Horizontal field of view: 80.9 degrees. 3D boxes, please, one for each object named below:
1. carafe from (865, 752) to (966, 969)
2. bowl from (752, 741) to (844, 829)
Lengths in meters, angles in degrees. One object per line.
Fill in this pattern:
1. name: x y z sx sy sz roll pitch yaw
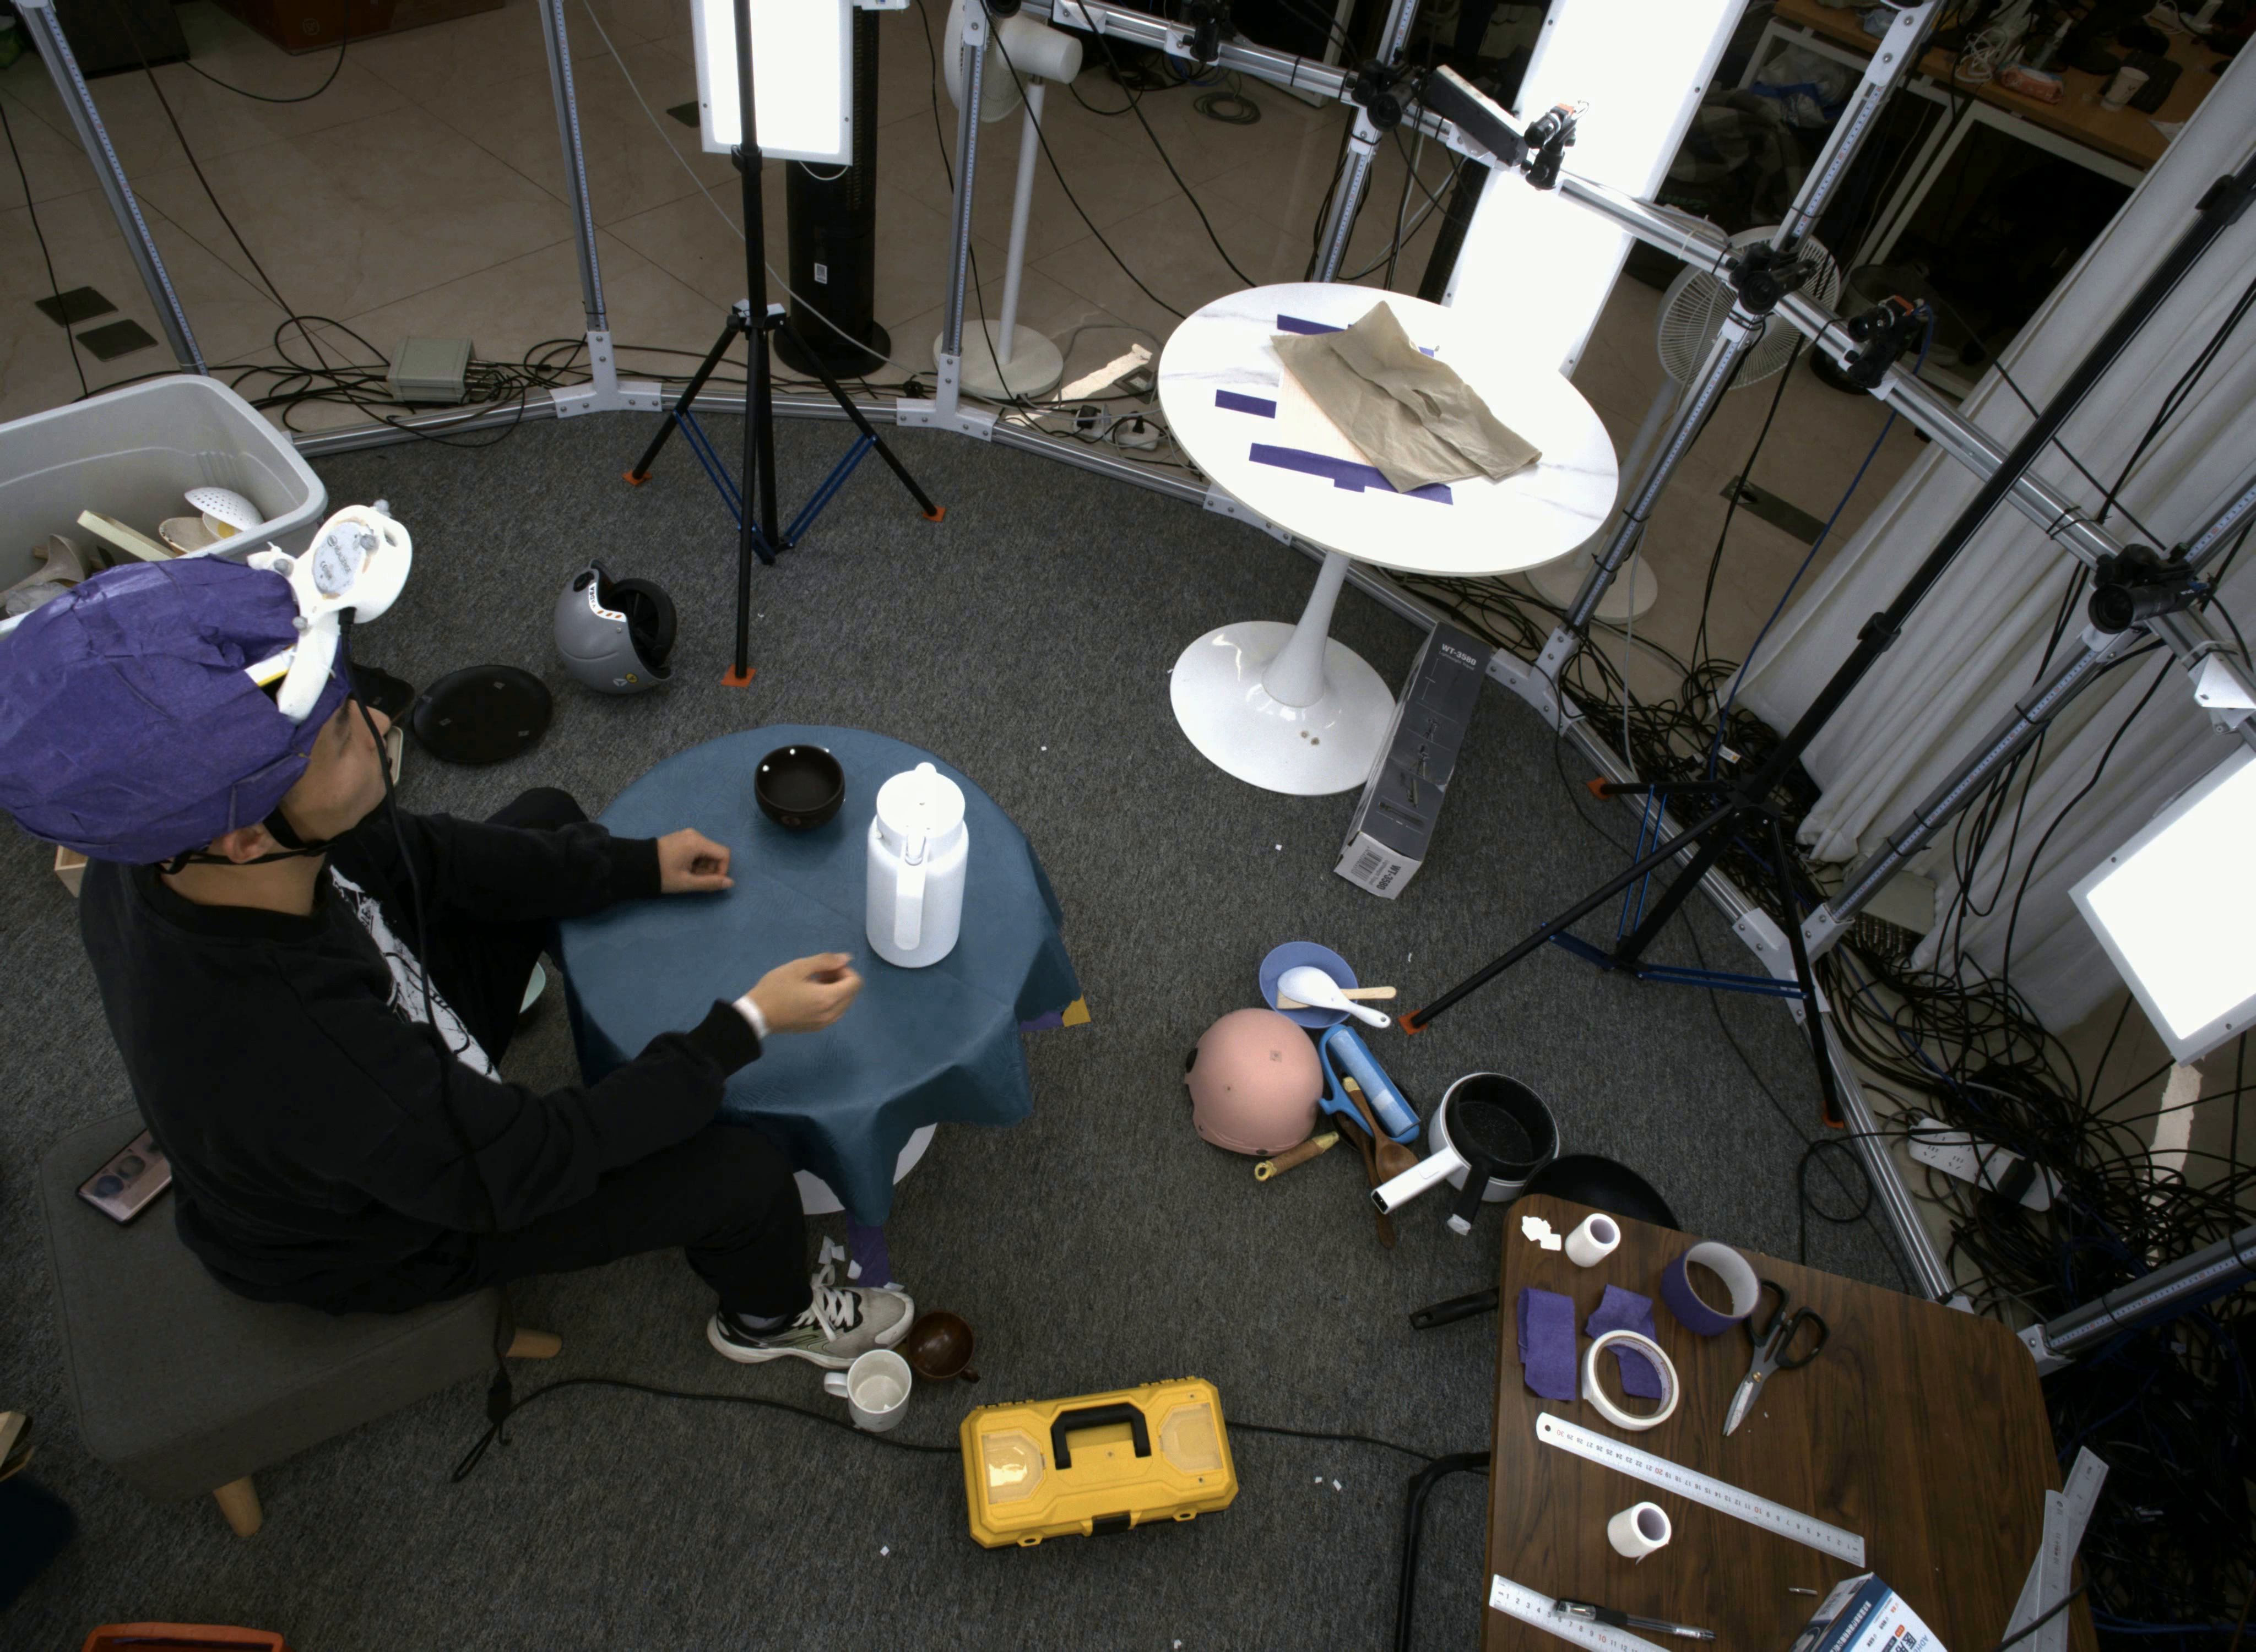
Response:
1. carafe: -0.253 0.064 1.545 0.124 0.274 0.169 5 51 -9
2. bowl: -0.433 -0.046 1.705 0.118 0.071 0.116 7 53 -8
